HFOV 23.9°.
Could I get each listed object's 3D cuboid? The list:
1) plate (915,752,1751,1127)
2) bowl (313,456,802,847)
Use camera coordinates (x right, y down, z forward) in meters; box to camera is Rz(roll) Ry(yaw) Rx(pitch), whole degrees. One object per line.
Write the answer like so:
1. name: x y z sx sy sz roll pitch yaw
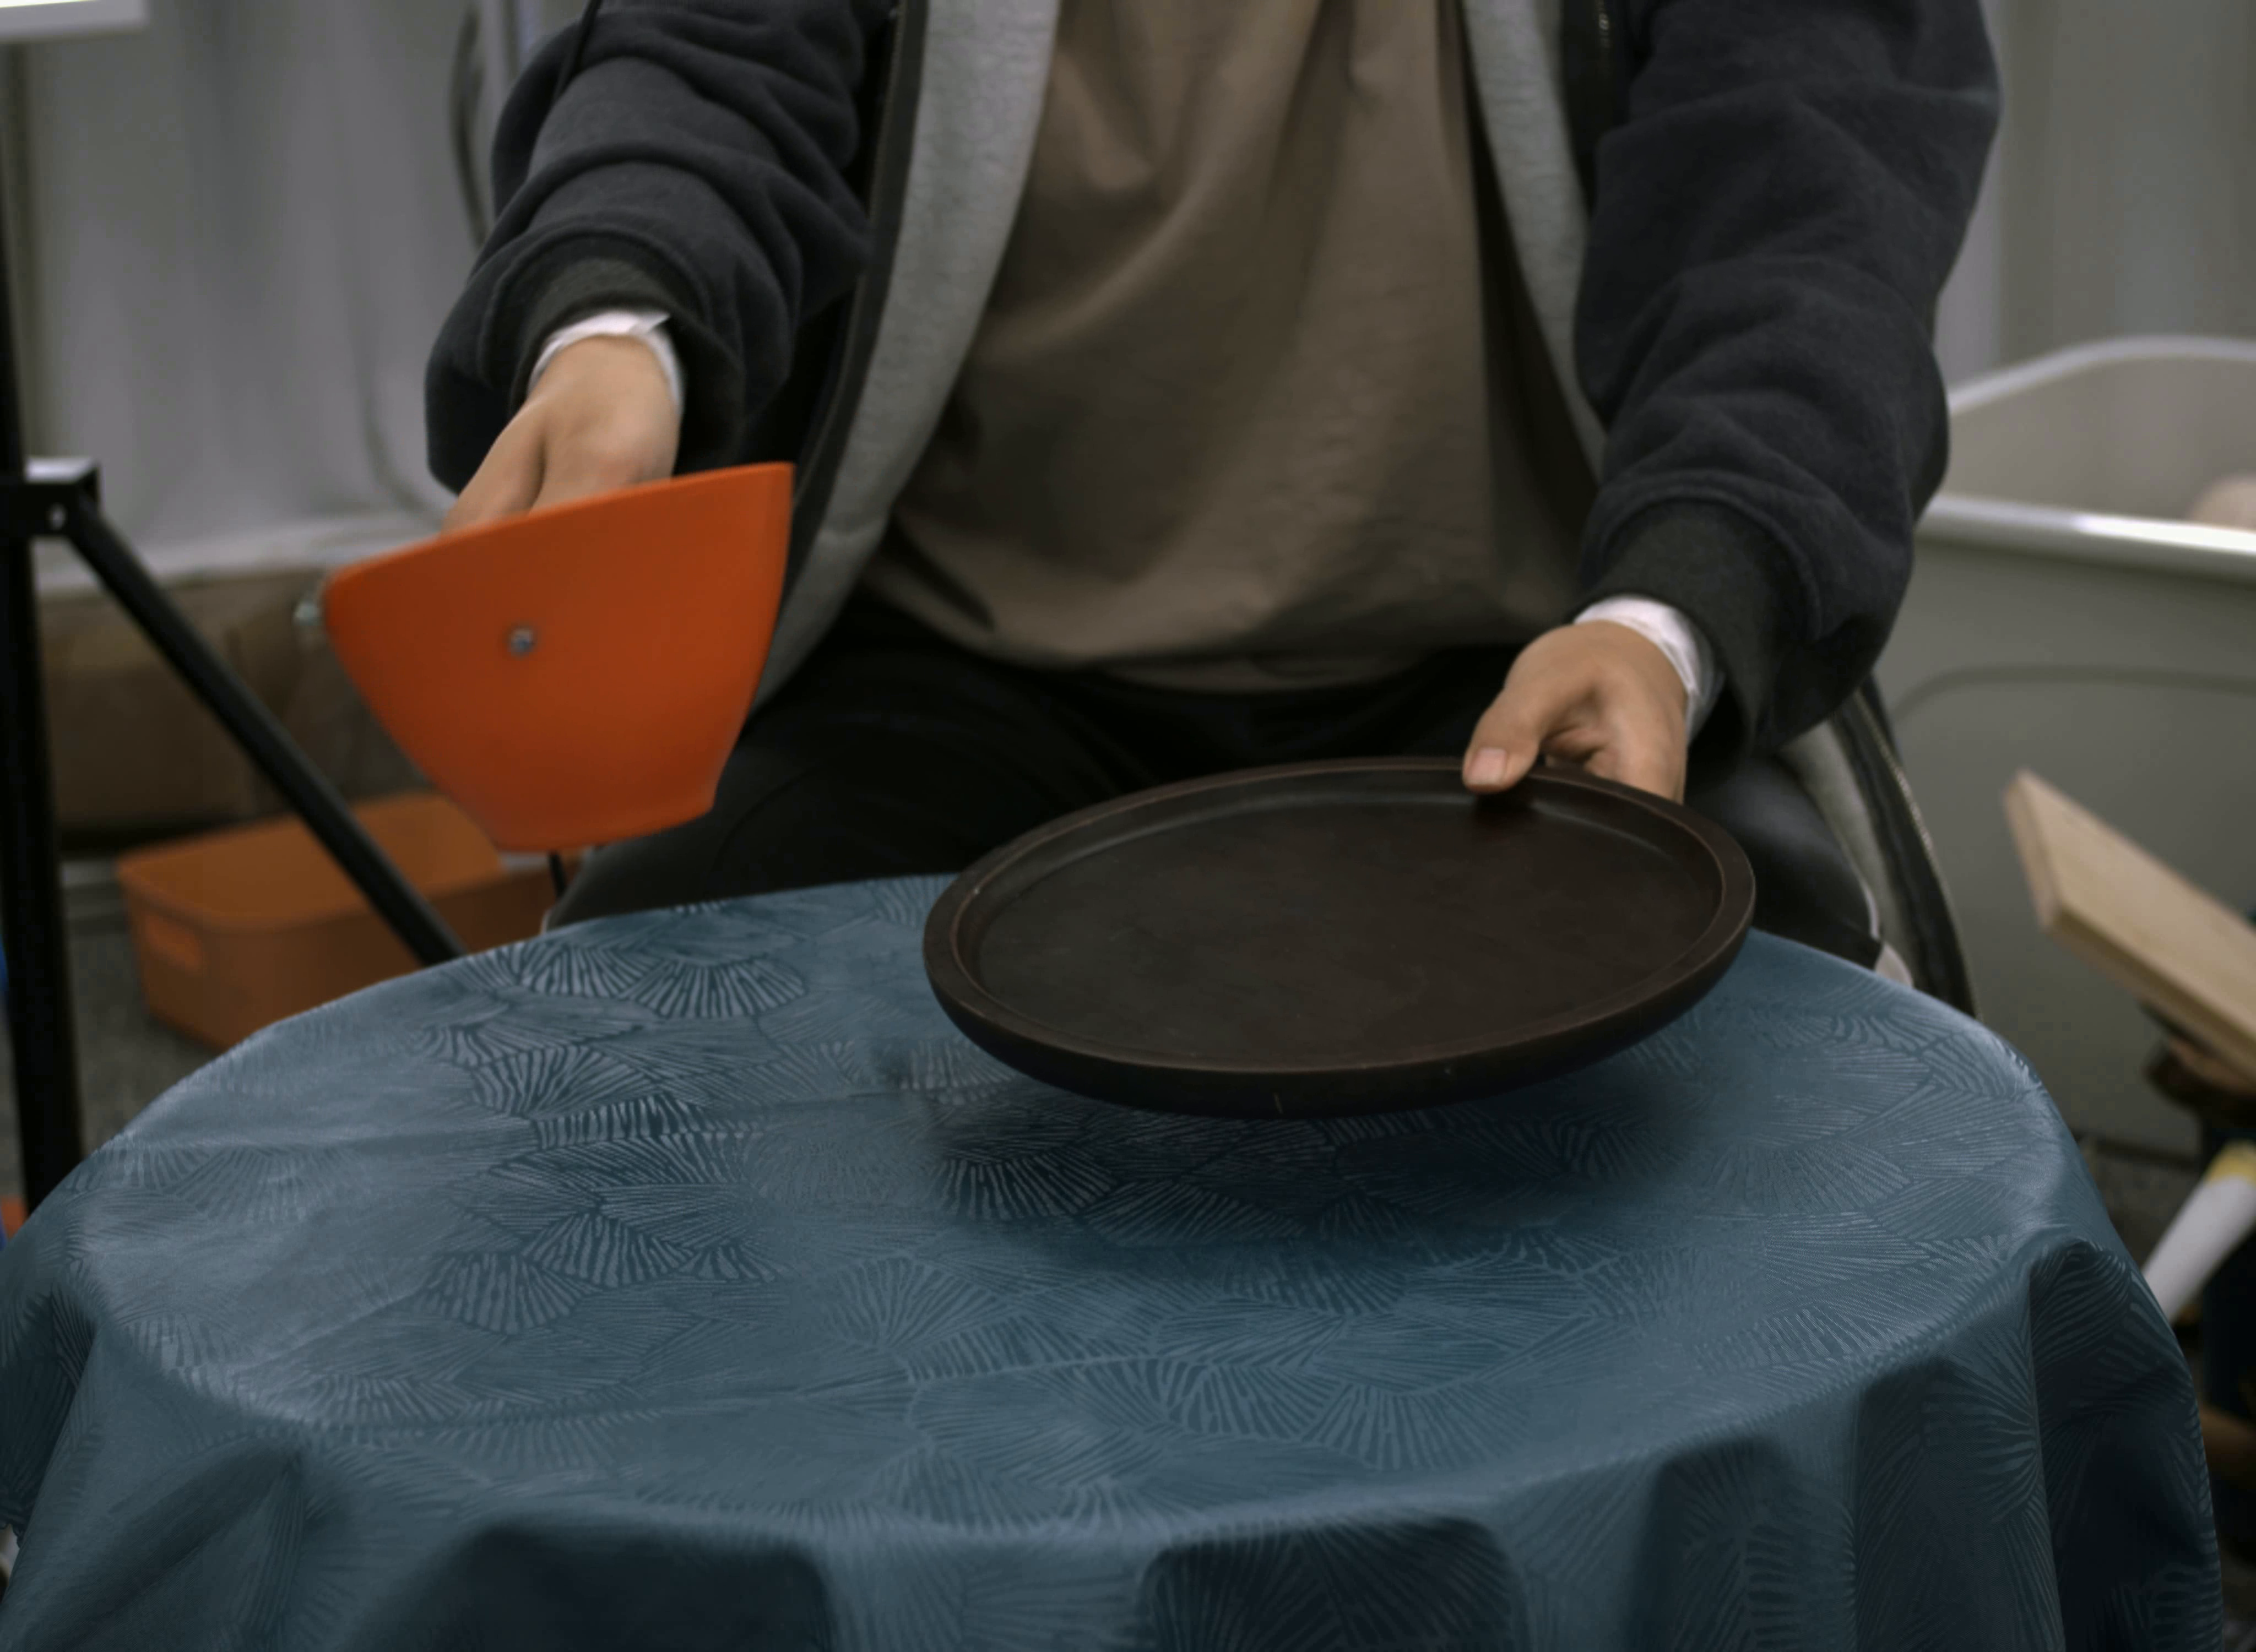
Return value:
1. plate: 0.062 0.032 1.607 0.254 0.029 0.256 -7 21 1
2. bowl: -0.160 -0.051 1.574 0.147 0.105 0.148 -11 9 0
